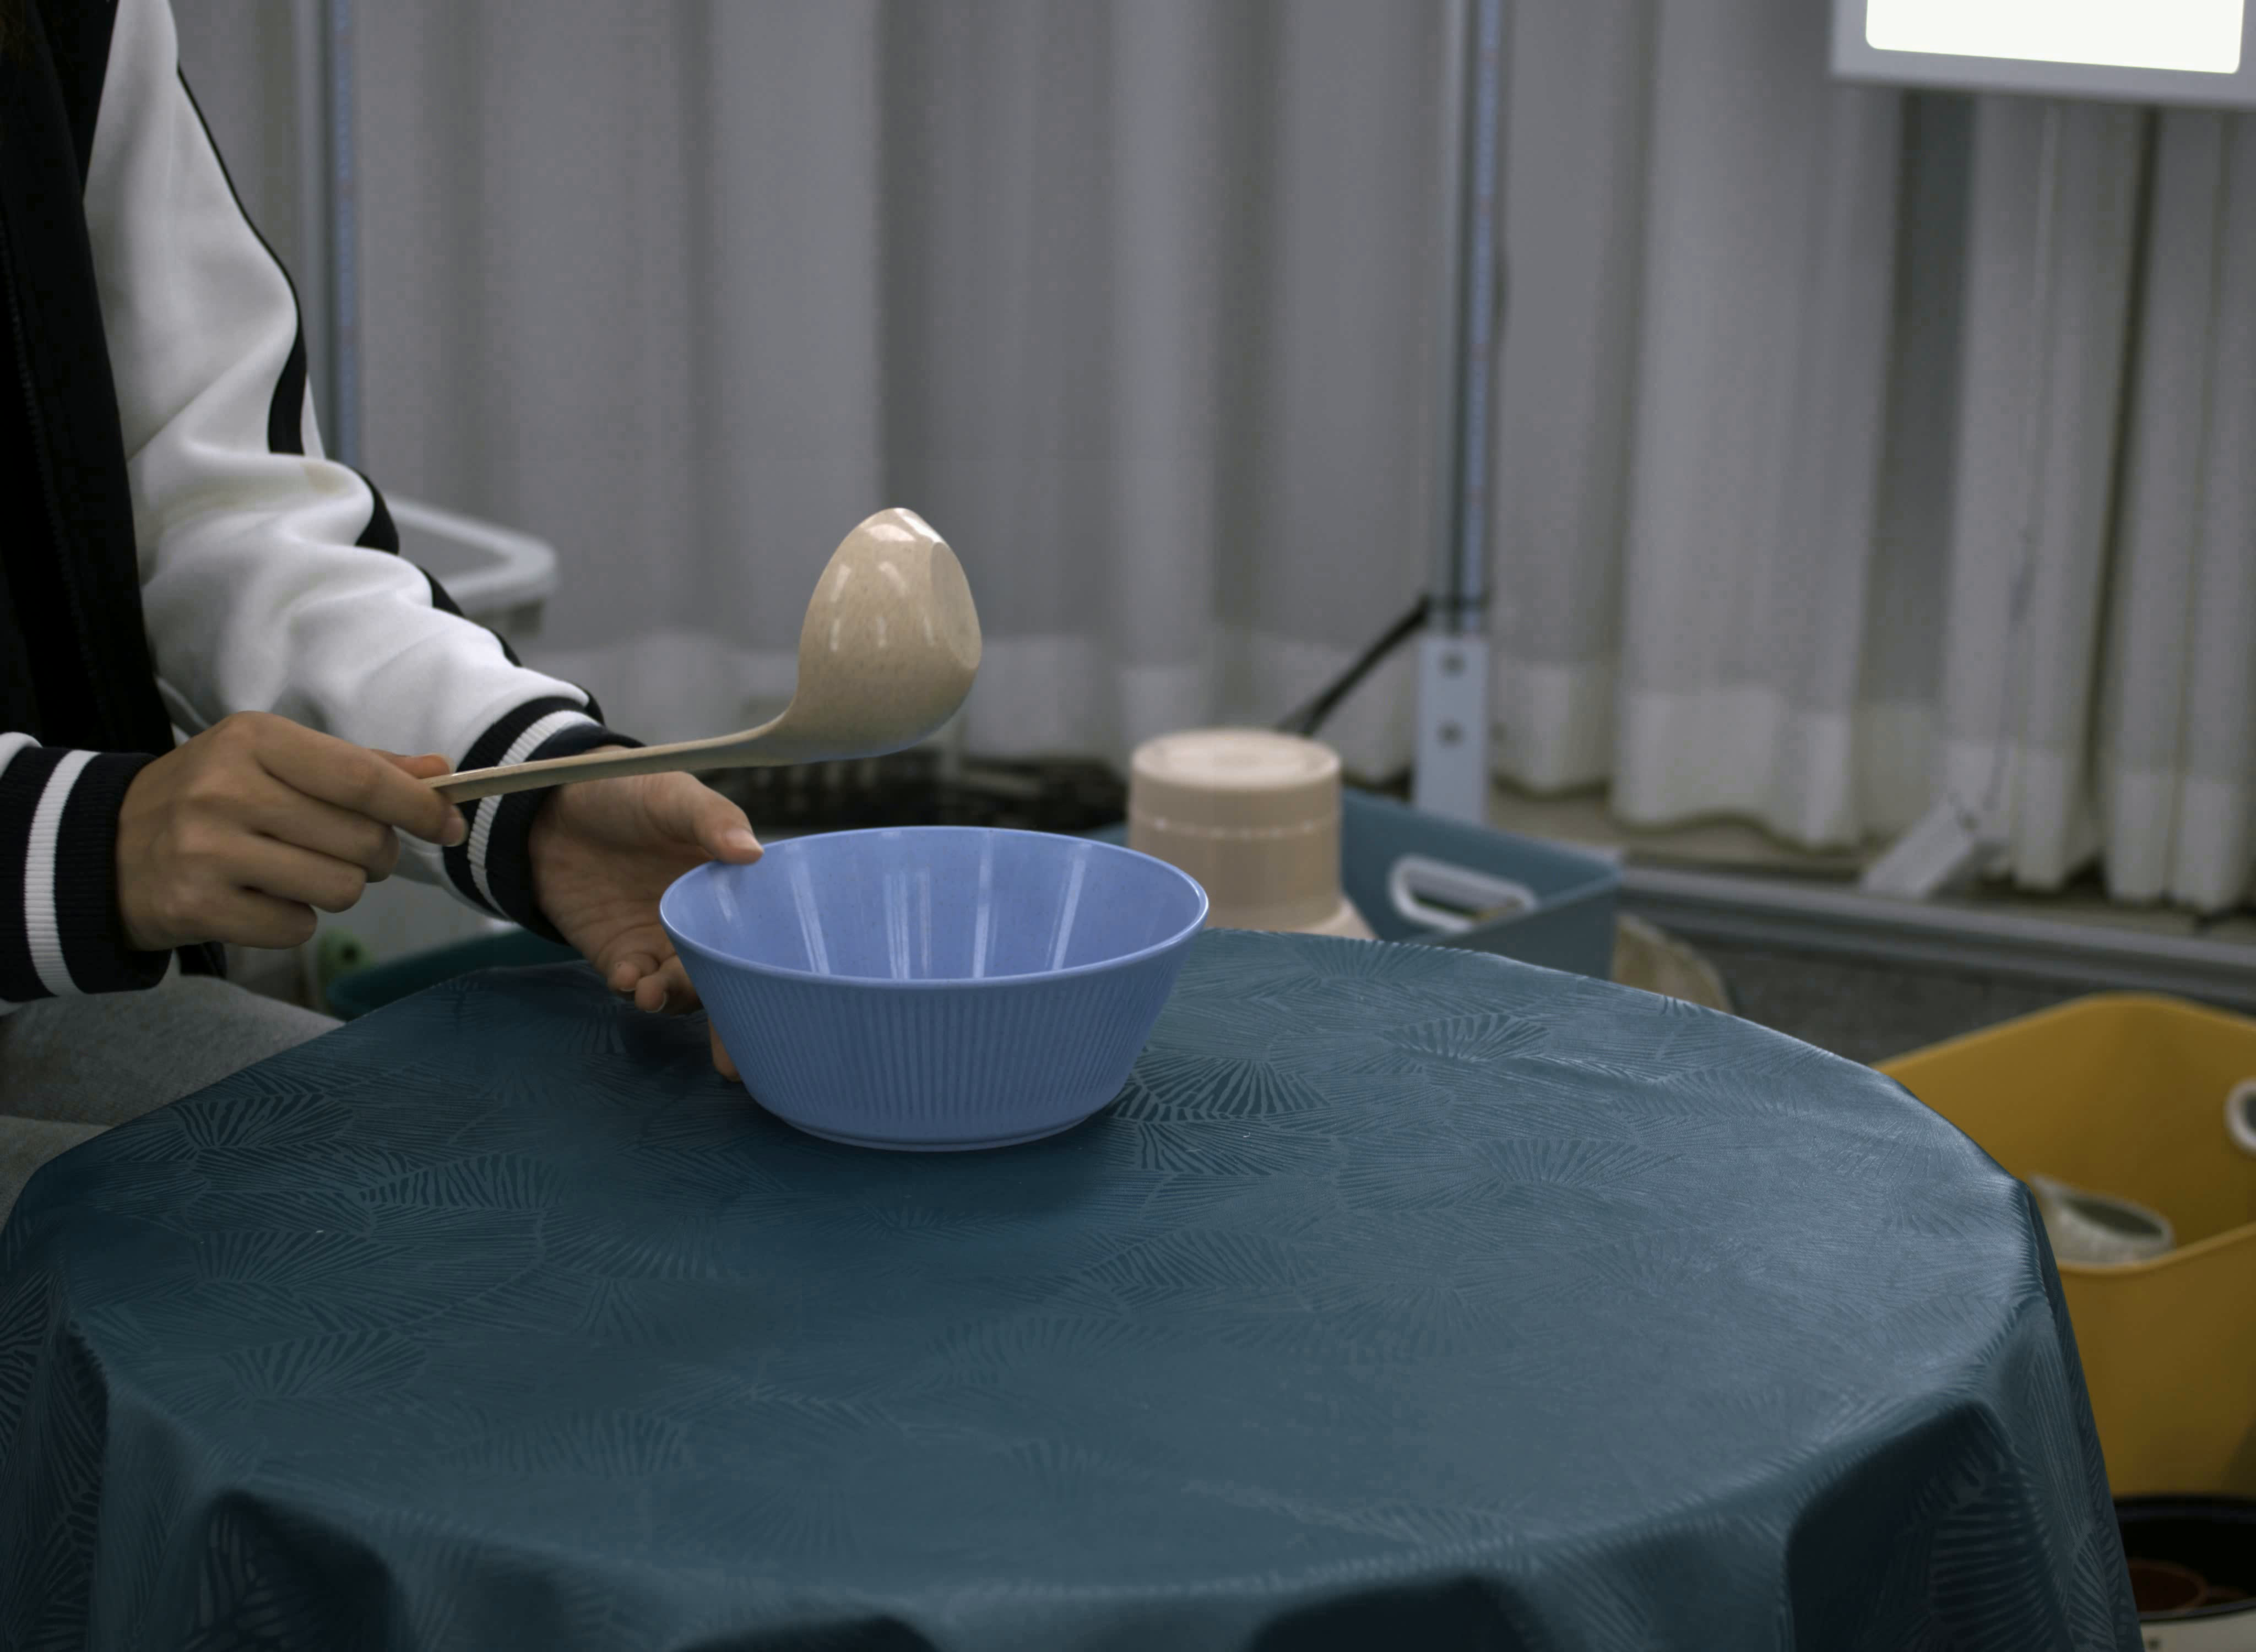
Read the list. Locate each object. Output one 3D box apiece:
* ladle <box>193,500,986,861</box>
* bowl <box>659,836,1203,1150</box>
[{"bbox_3d":[-0.167,-0.043,1.598,0.252,0.072,0.073,-10,-30,16],"label":"ladle"},{"bbox_3d":[-0.063,0.055,1.693,0.175,0.071,0.175,1,15,0],"label":"bowl"}]
